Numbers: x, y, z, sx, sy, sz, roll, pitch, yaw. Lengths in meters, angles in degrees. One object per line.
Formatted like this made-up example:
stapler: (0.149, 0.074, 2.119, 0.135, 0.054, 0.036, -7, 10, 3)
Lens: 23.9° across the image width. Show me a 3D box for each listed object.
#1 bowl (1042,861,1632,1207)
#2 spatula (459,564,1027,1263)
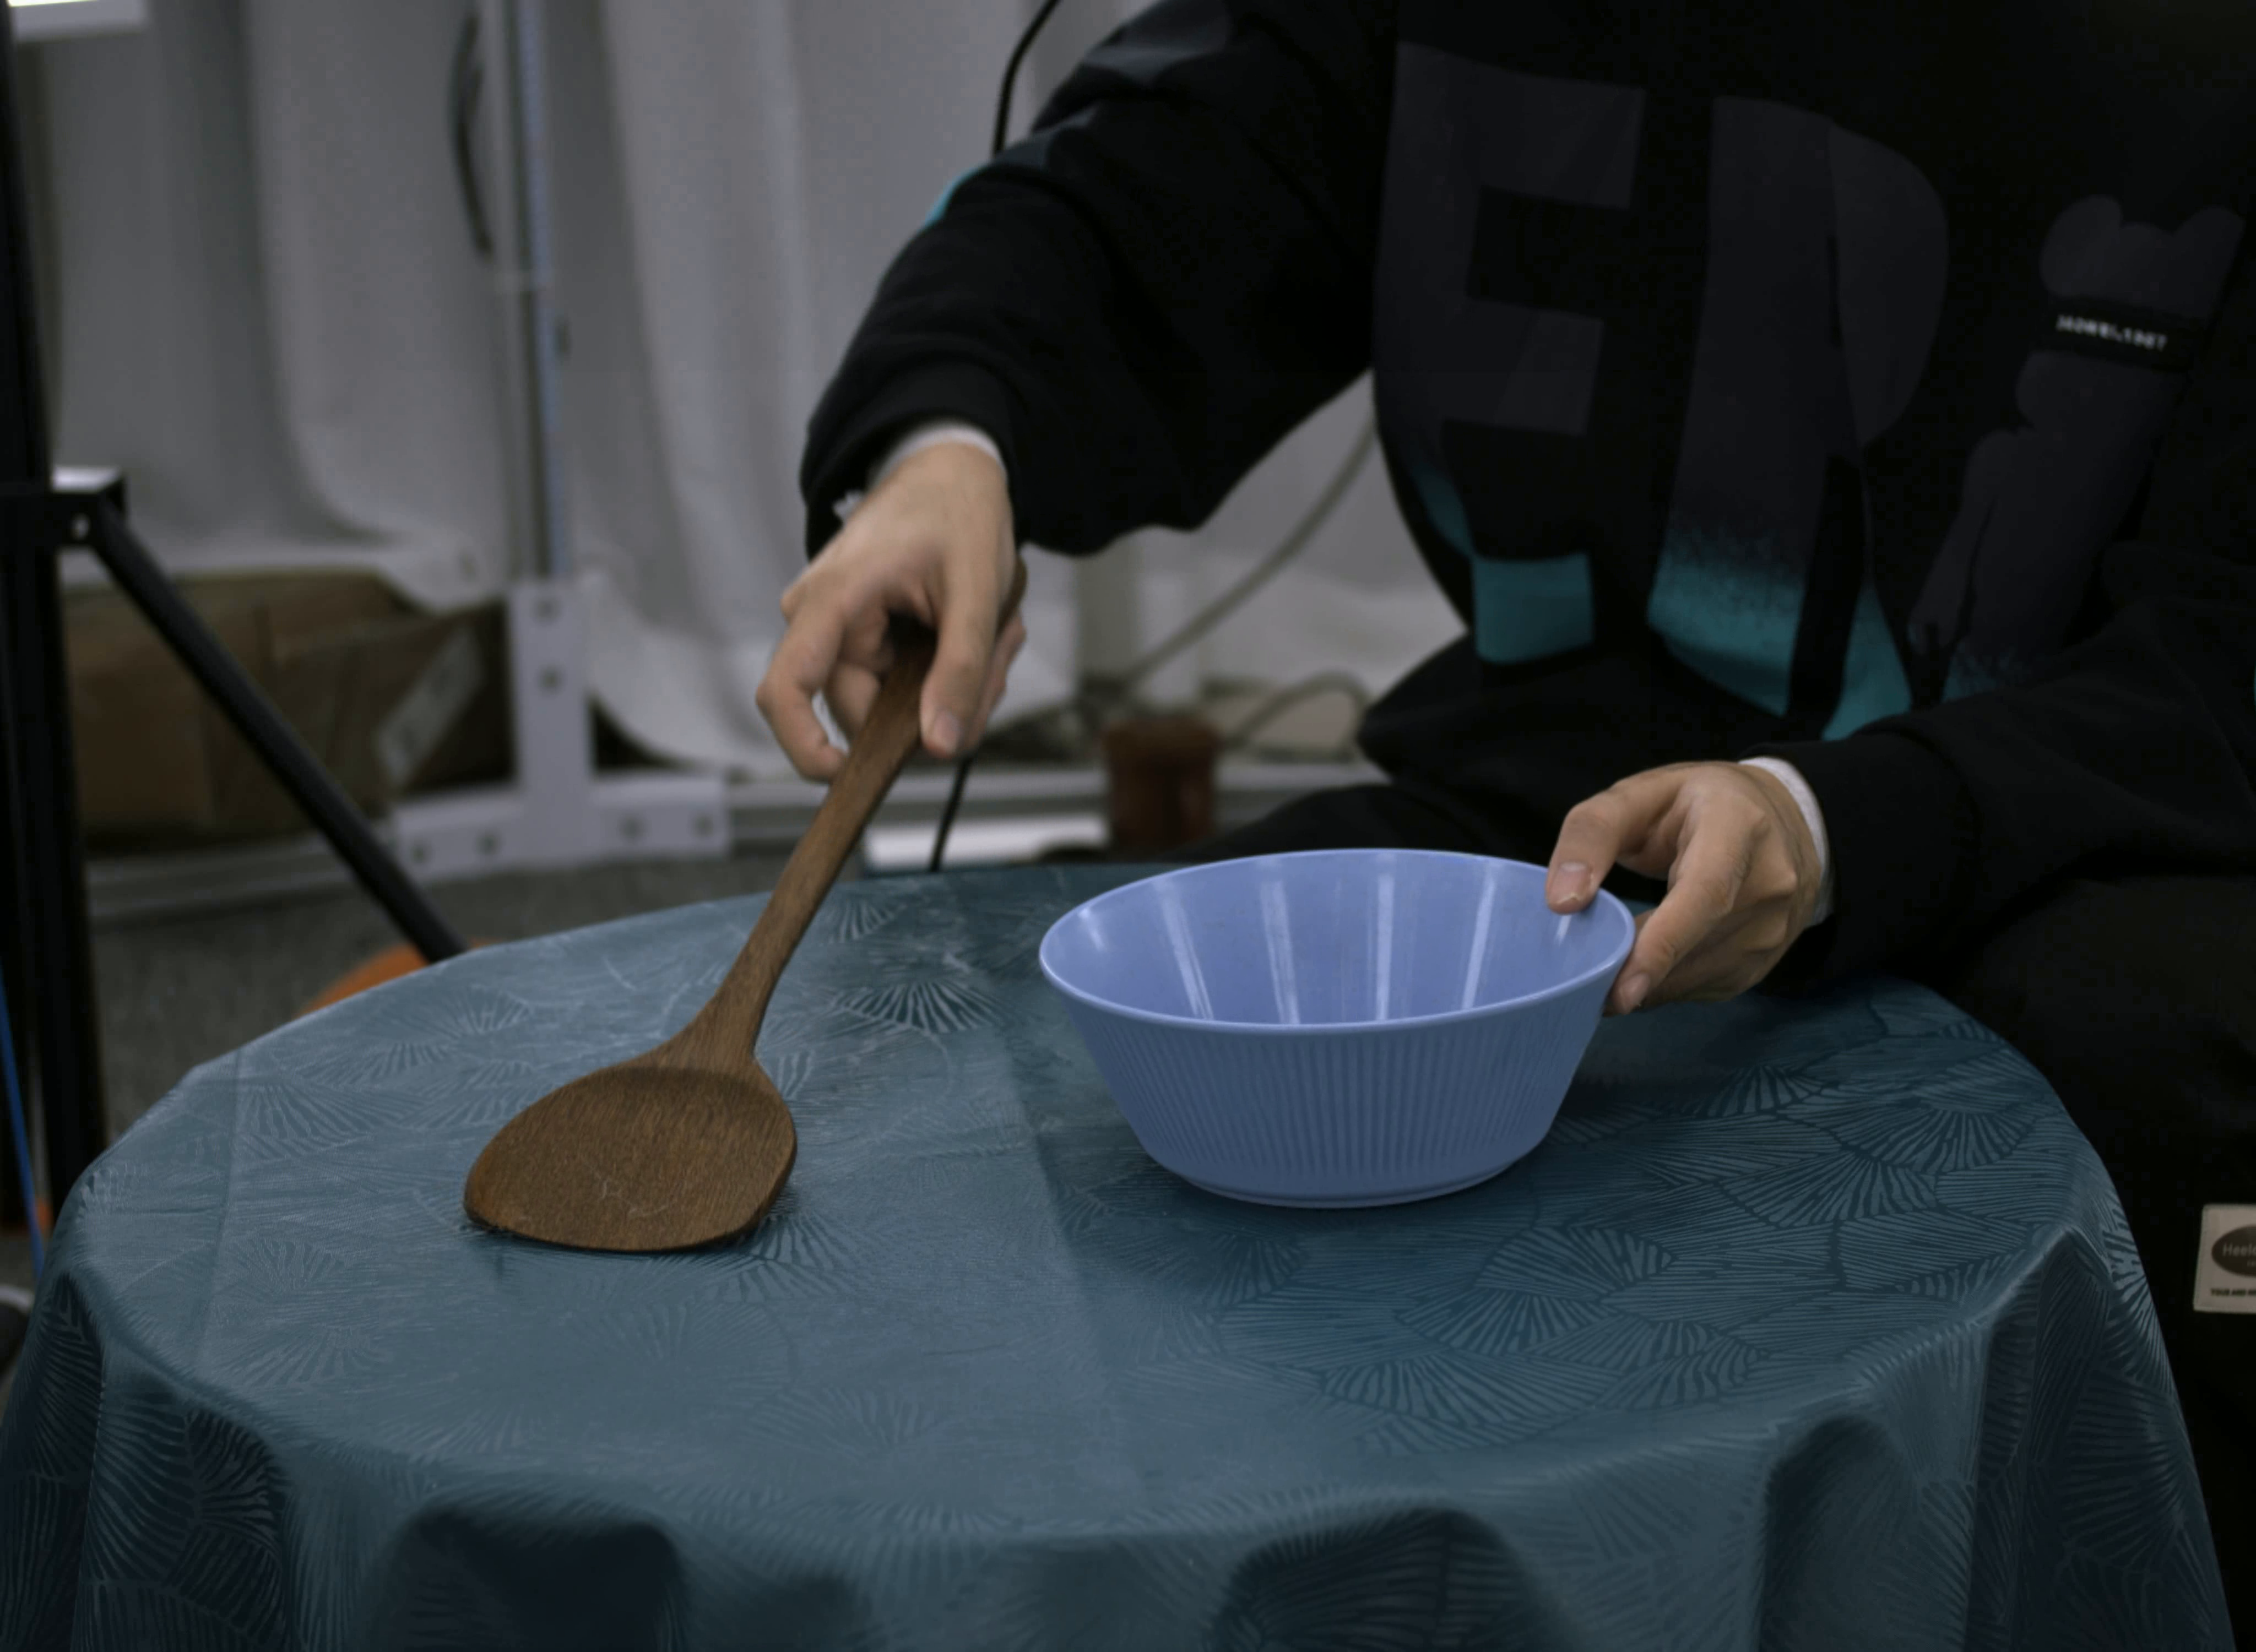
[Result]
bowl: (0.063, 0.064, 1.573, 0.175, 0.070, 0.177, -3, 14, -1)
spatula: (-0.100, 0.017, 1.681, 0.097, 0.015, 0.384, 5, 36, 18)
